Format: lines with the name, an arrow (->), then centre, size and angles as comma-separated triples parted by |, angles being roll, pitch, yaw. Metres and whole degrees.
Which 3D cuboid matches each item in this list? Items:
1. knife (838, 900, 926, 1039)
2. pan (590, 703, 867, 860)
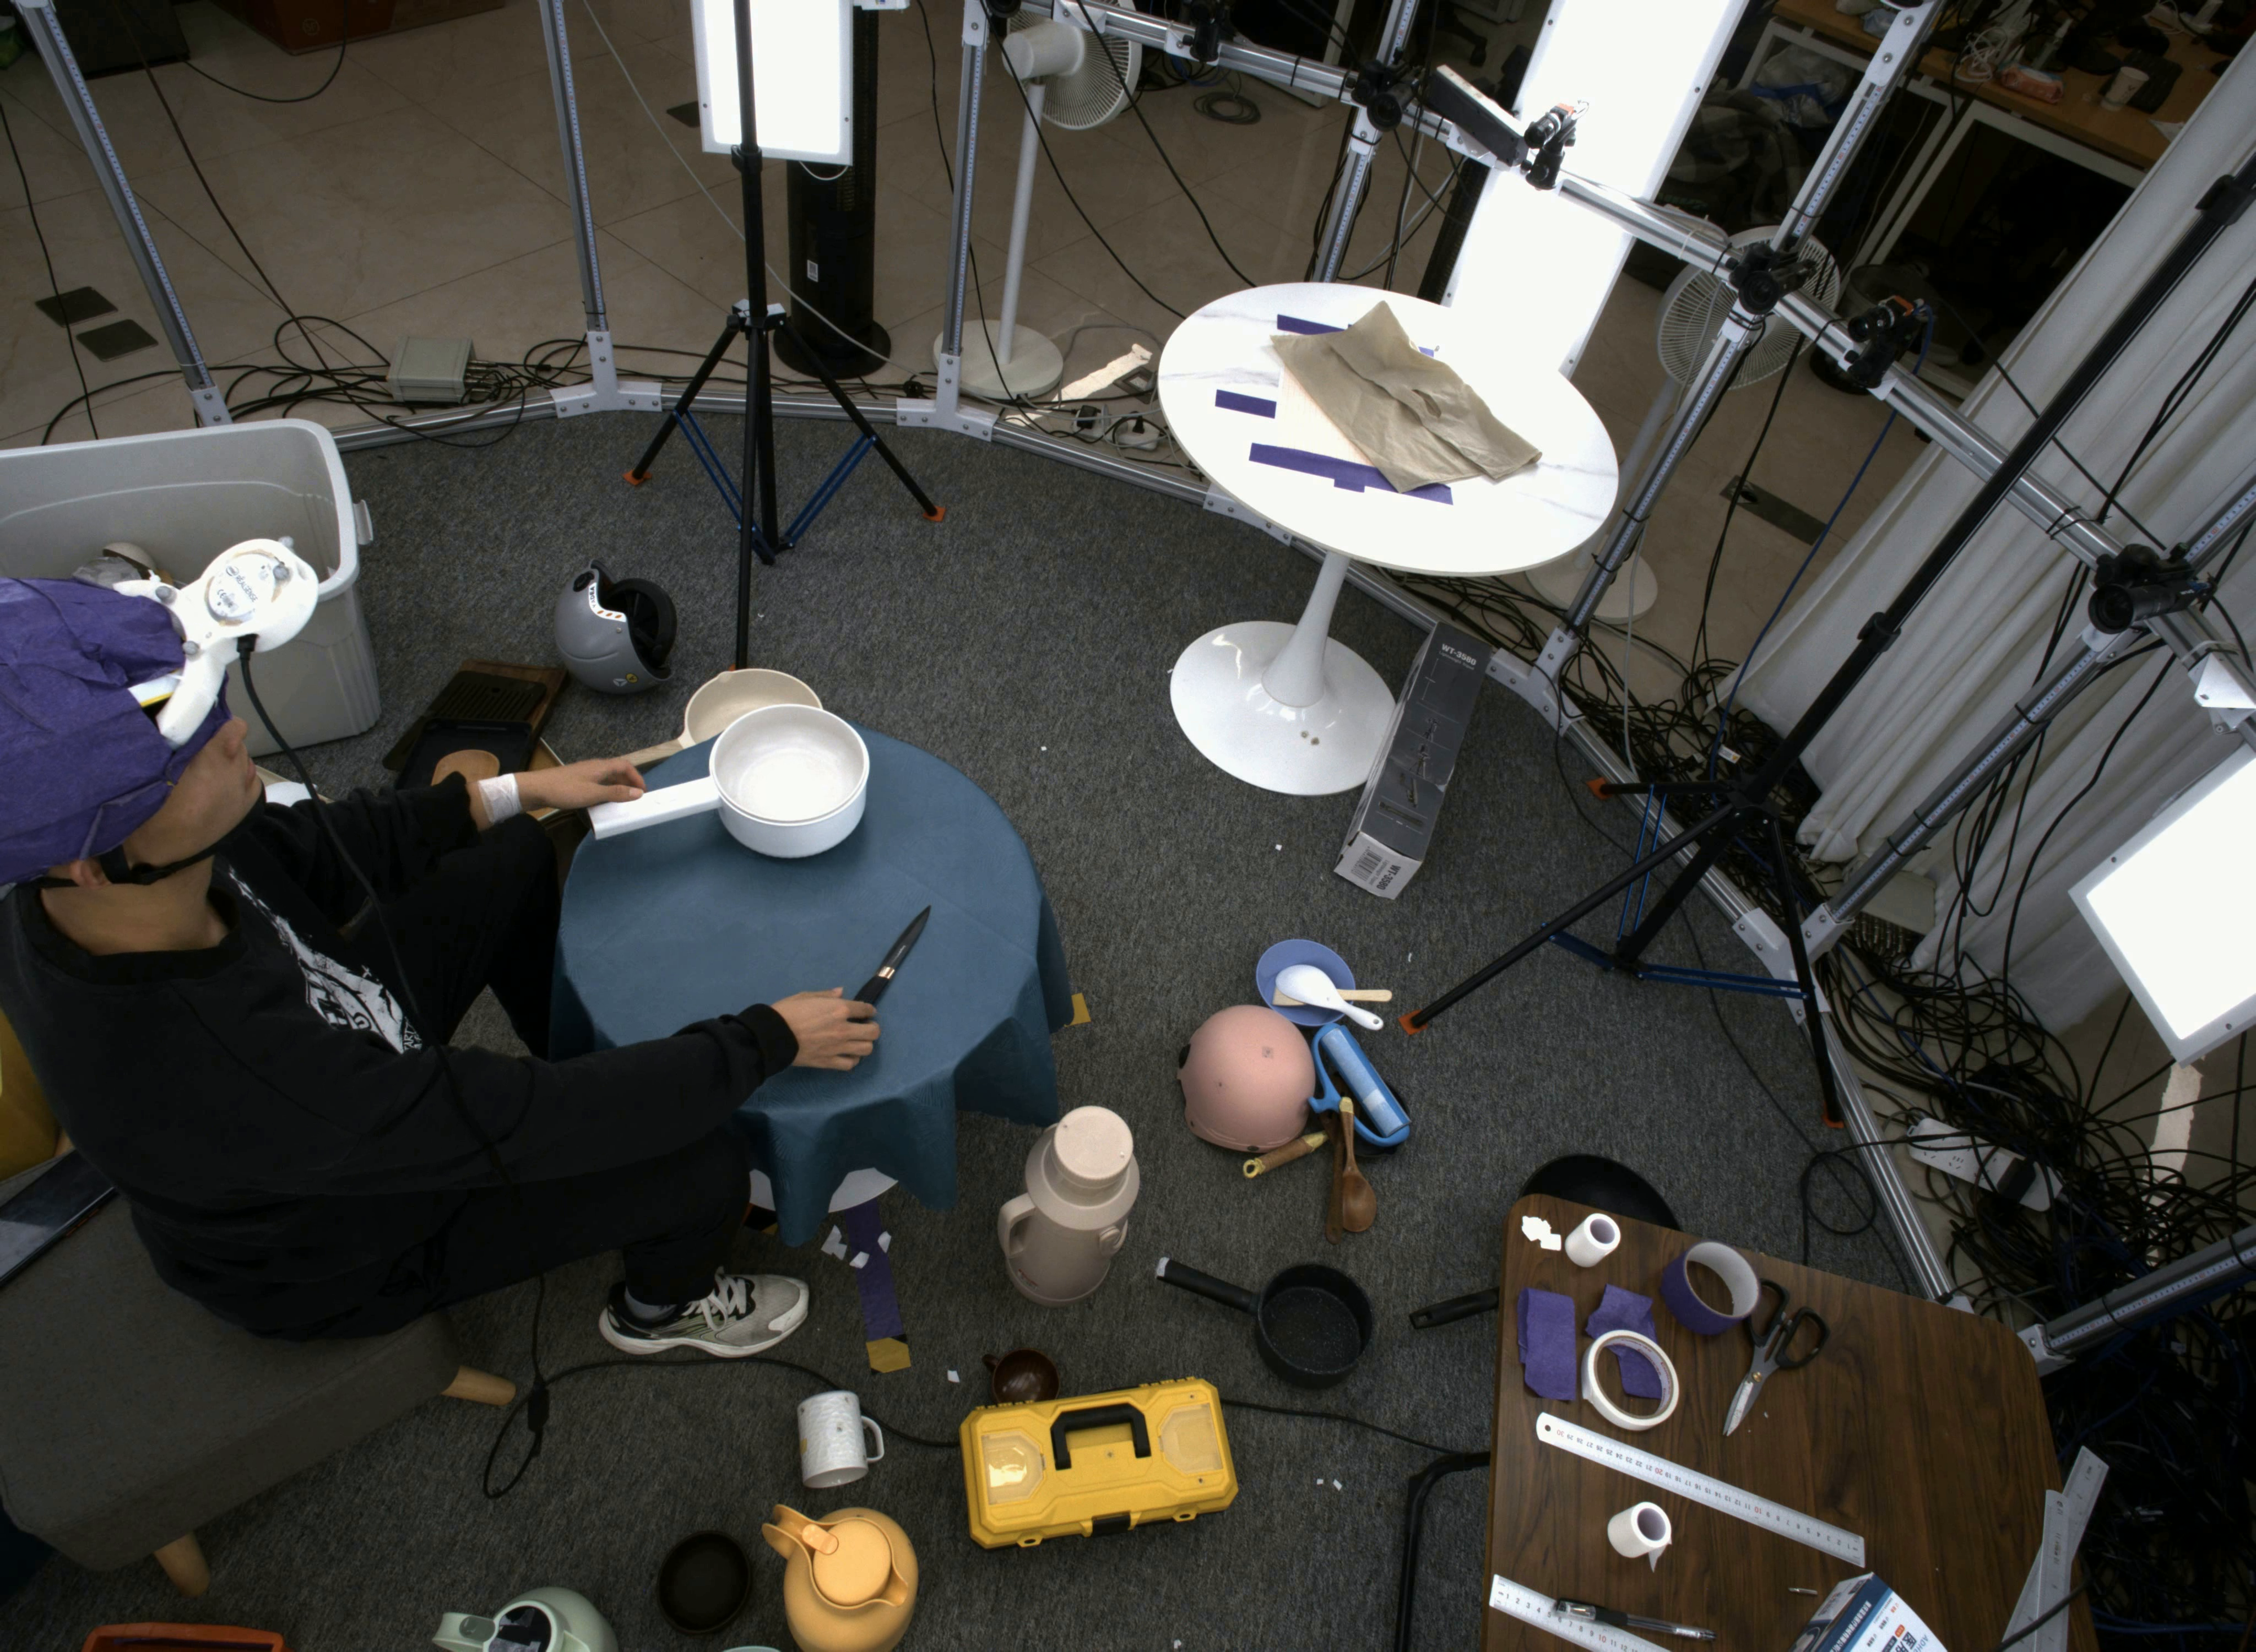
knife -> -0.300, 0.173, 1.619 | 0.025, 0.018, 0.224 | 14, 48, 18
pan -> -0.509, -0.032, 1.661 | 0.356, 0.104, 0.196 | -18, 61, -25
